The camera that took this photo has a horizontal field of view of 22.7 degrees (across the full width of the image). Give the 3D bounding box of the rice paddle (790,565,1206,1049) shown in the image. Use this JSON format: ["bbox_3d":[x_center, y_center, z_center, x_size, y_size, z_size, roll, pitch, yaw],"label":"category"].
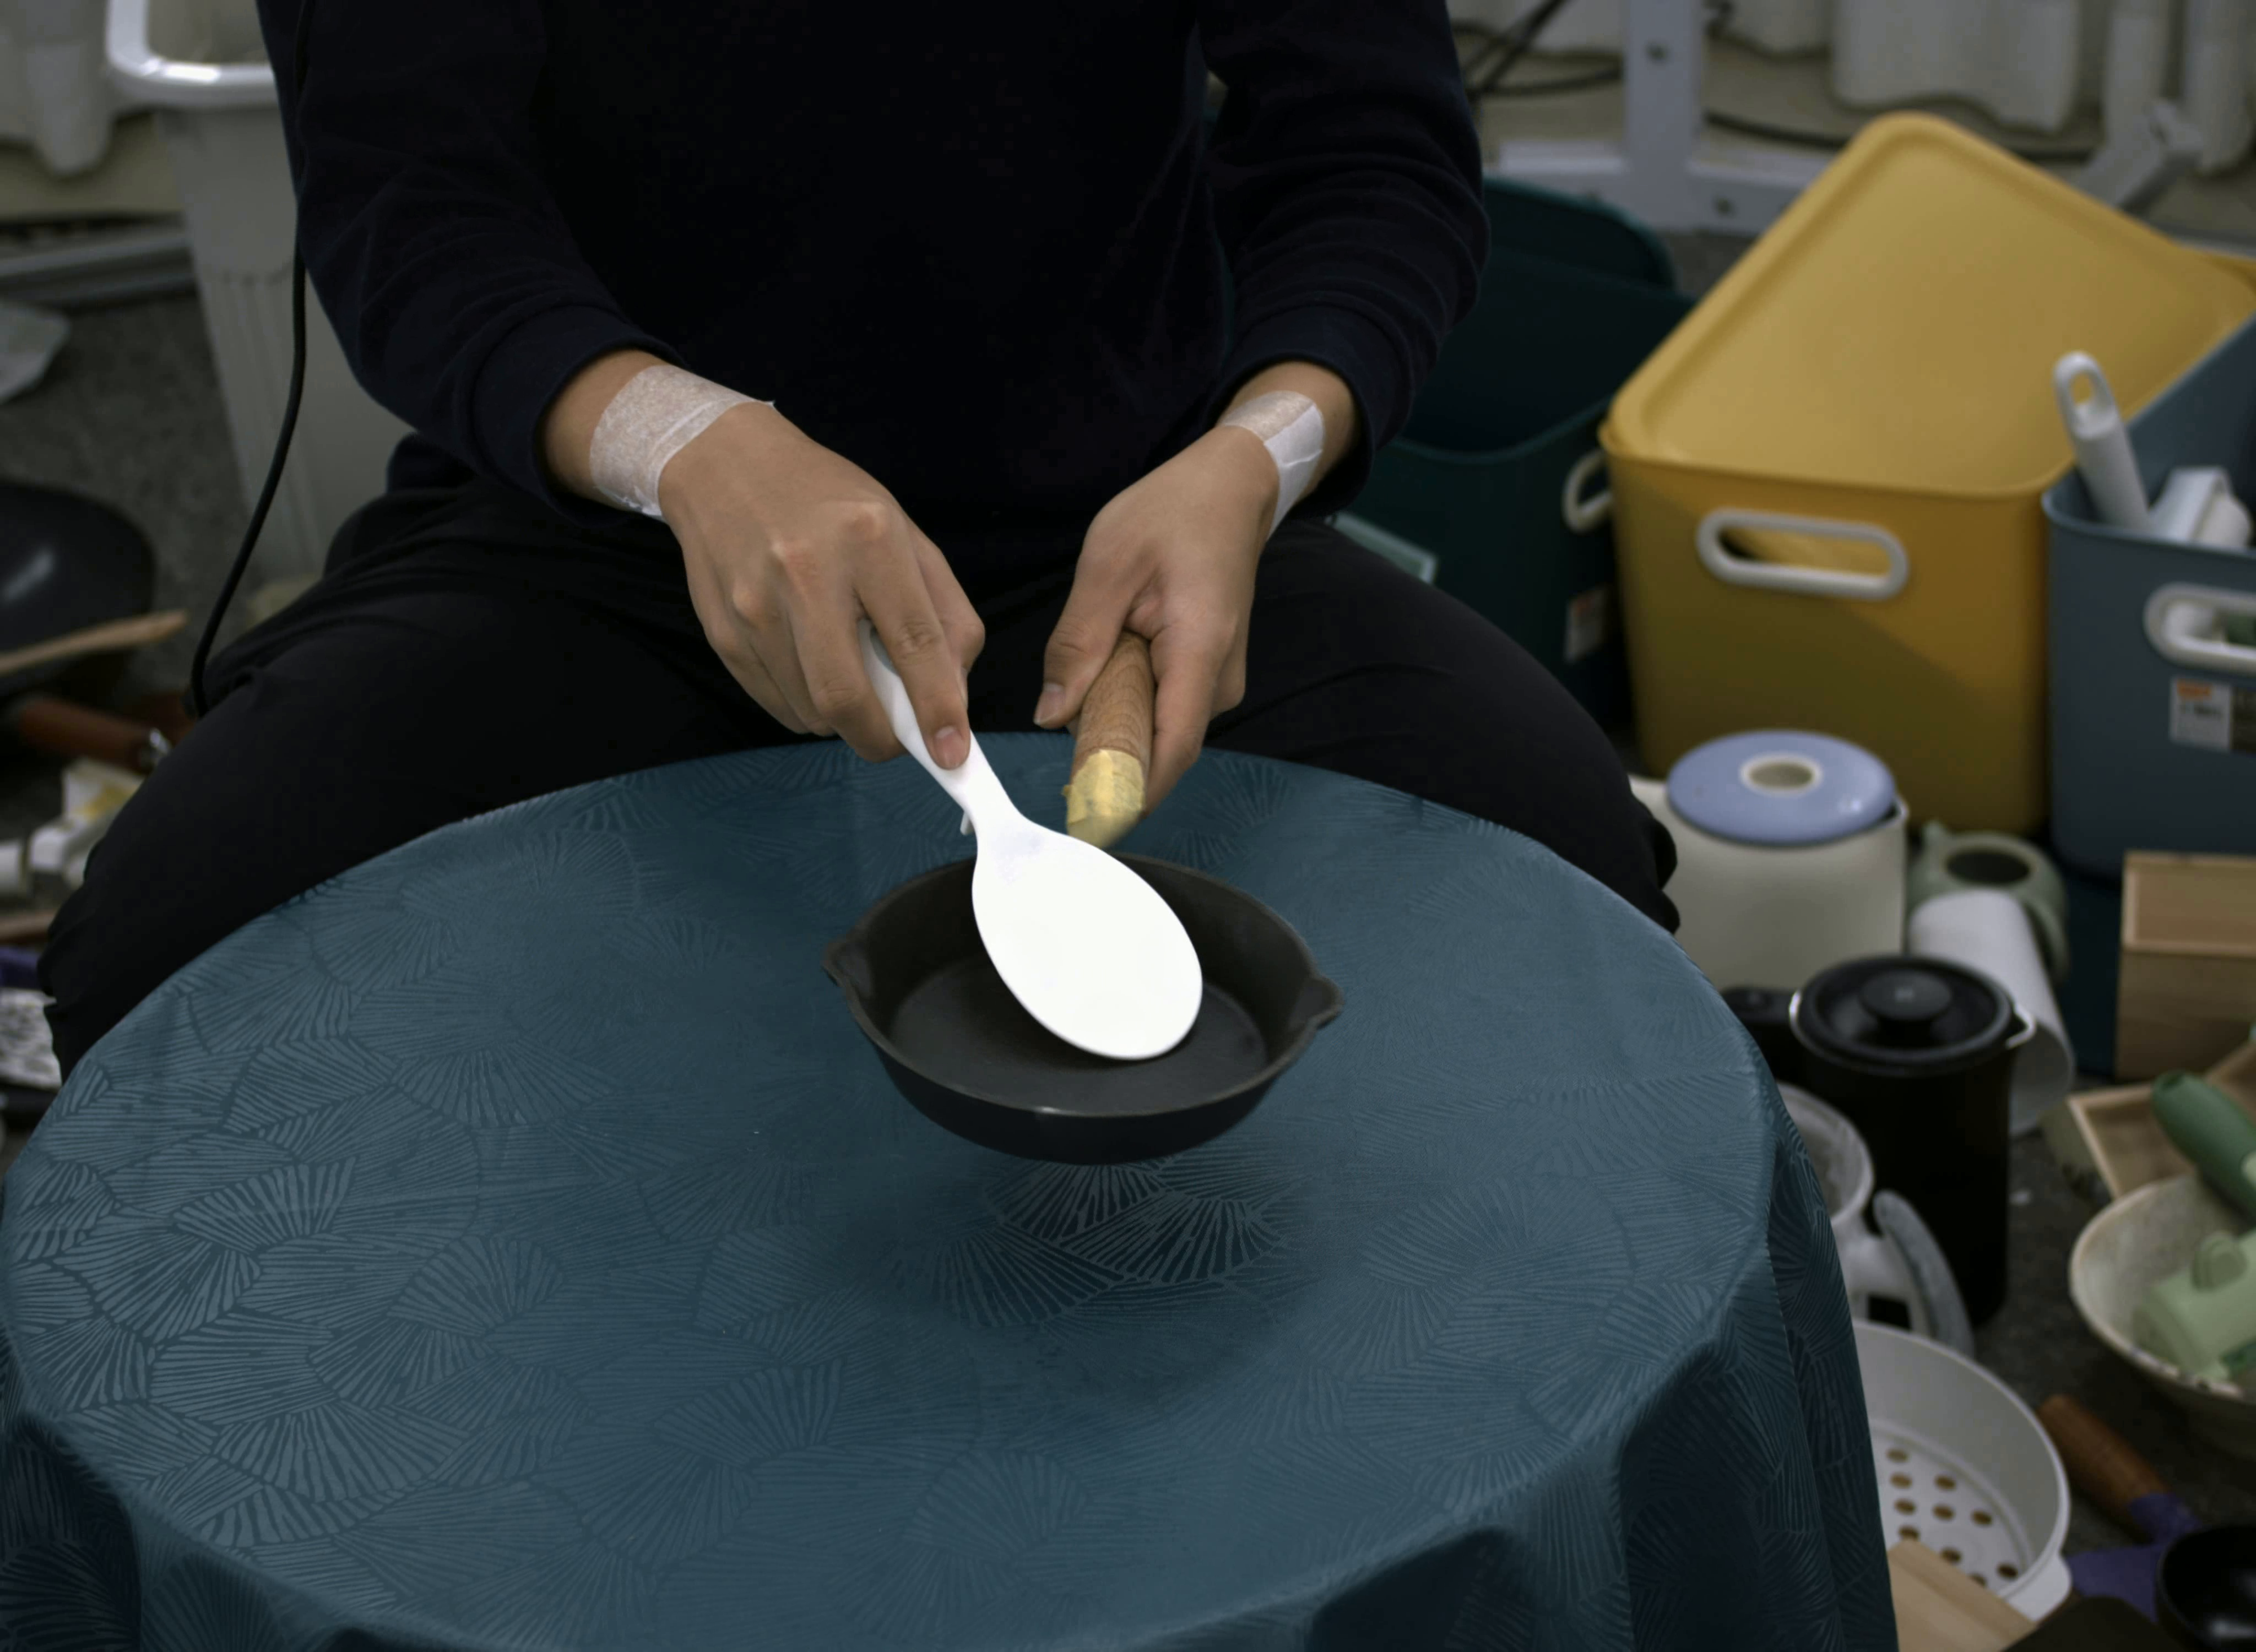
[{"bbox_3d":[-0.044,-0.005,1.875,0.069,0.029,0.207,-23,62,-30],"label":"rice paddle"}]

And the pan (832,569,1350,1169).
[{"bbox_3d":[-0.005,0.011,1.893,0.168,0.049,0.330,6,32,2],"label":"pan"}]
